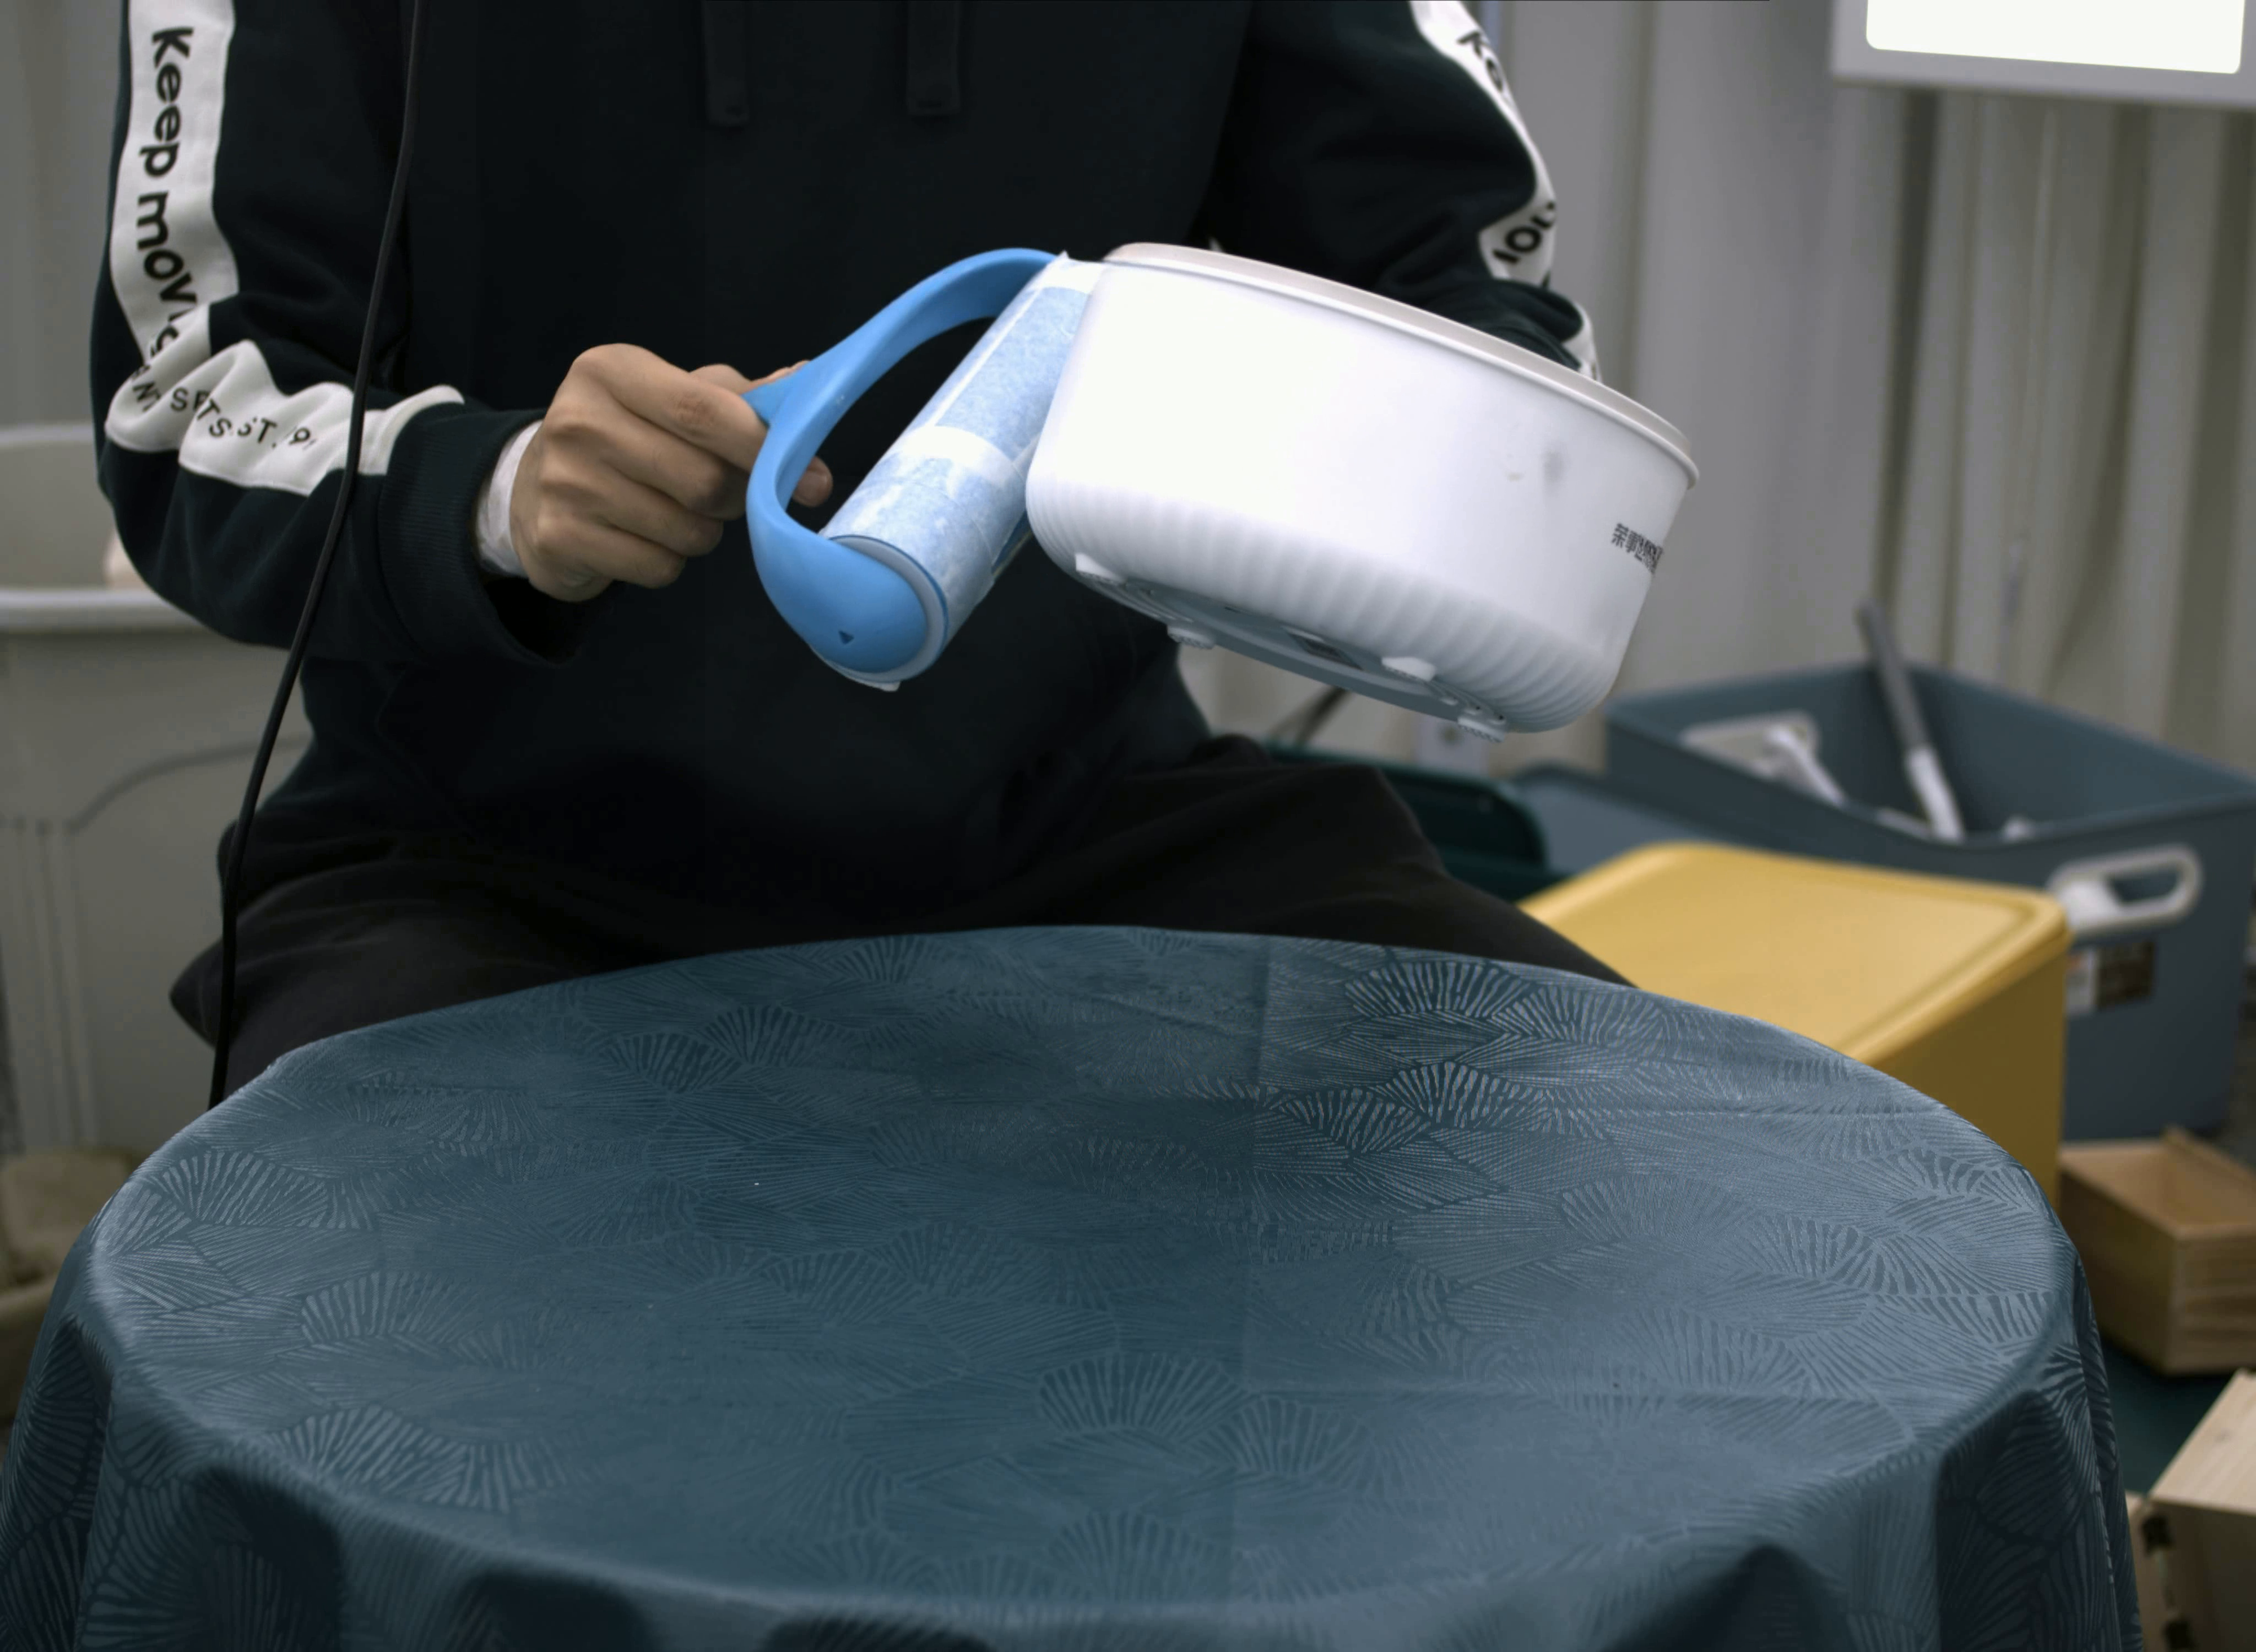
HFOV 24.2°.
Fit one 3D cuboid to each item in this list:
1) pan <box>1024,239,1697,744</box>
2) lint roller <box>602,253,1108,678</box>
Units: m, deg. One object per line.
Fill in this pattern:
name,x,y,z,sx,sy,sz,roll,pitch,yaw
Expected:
pan,0.089,-0.085,1.708,0.199,0.102,0.357,17,-5,19
lint roller,-0.099,-0.116,1.716,0.178,0.069,0.228,-2,31,21
